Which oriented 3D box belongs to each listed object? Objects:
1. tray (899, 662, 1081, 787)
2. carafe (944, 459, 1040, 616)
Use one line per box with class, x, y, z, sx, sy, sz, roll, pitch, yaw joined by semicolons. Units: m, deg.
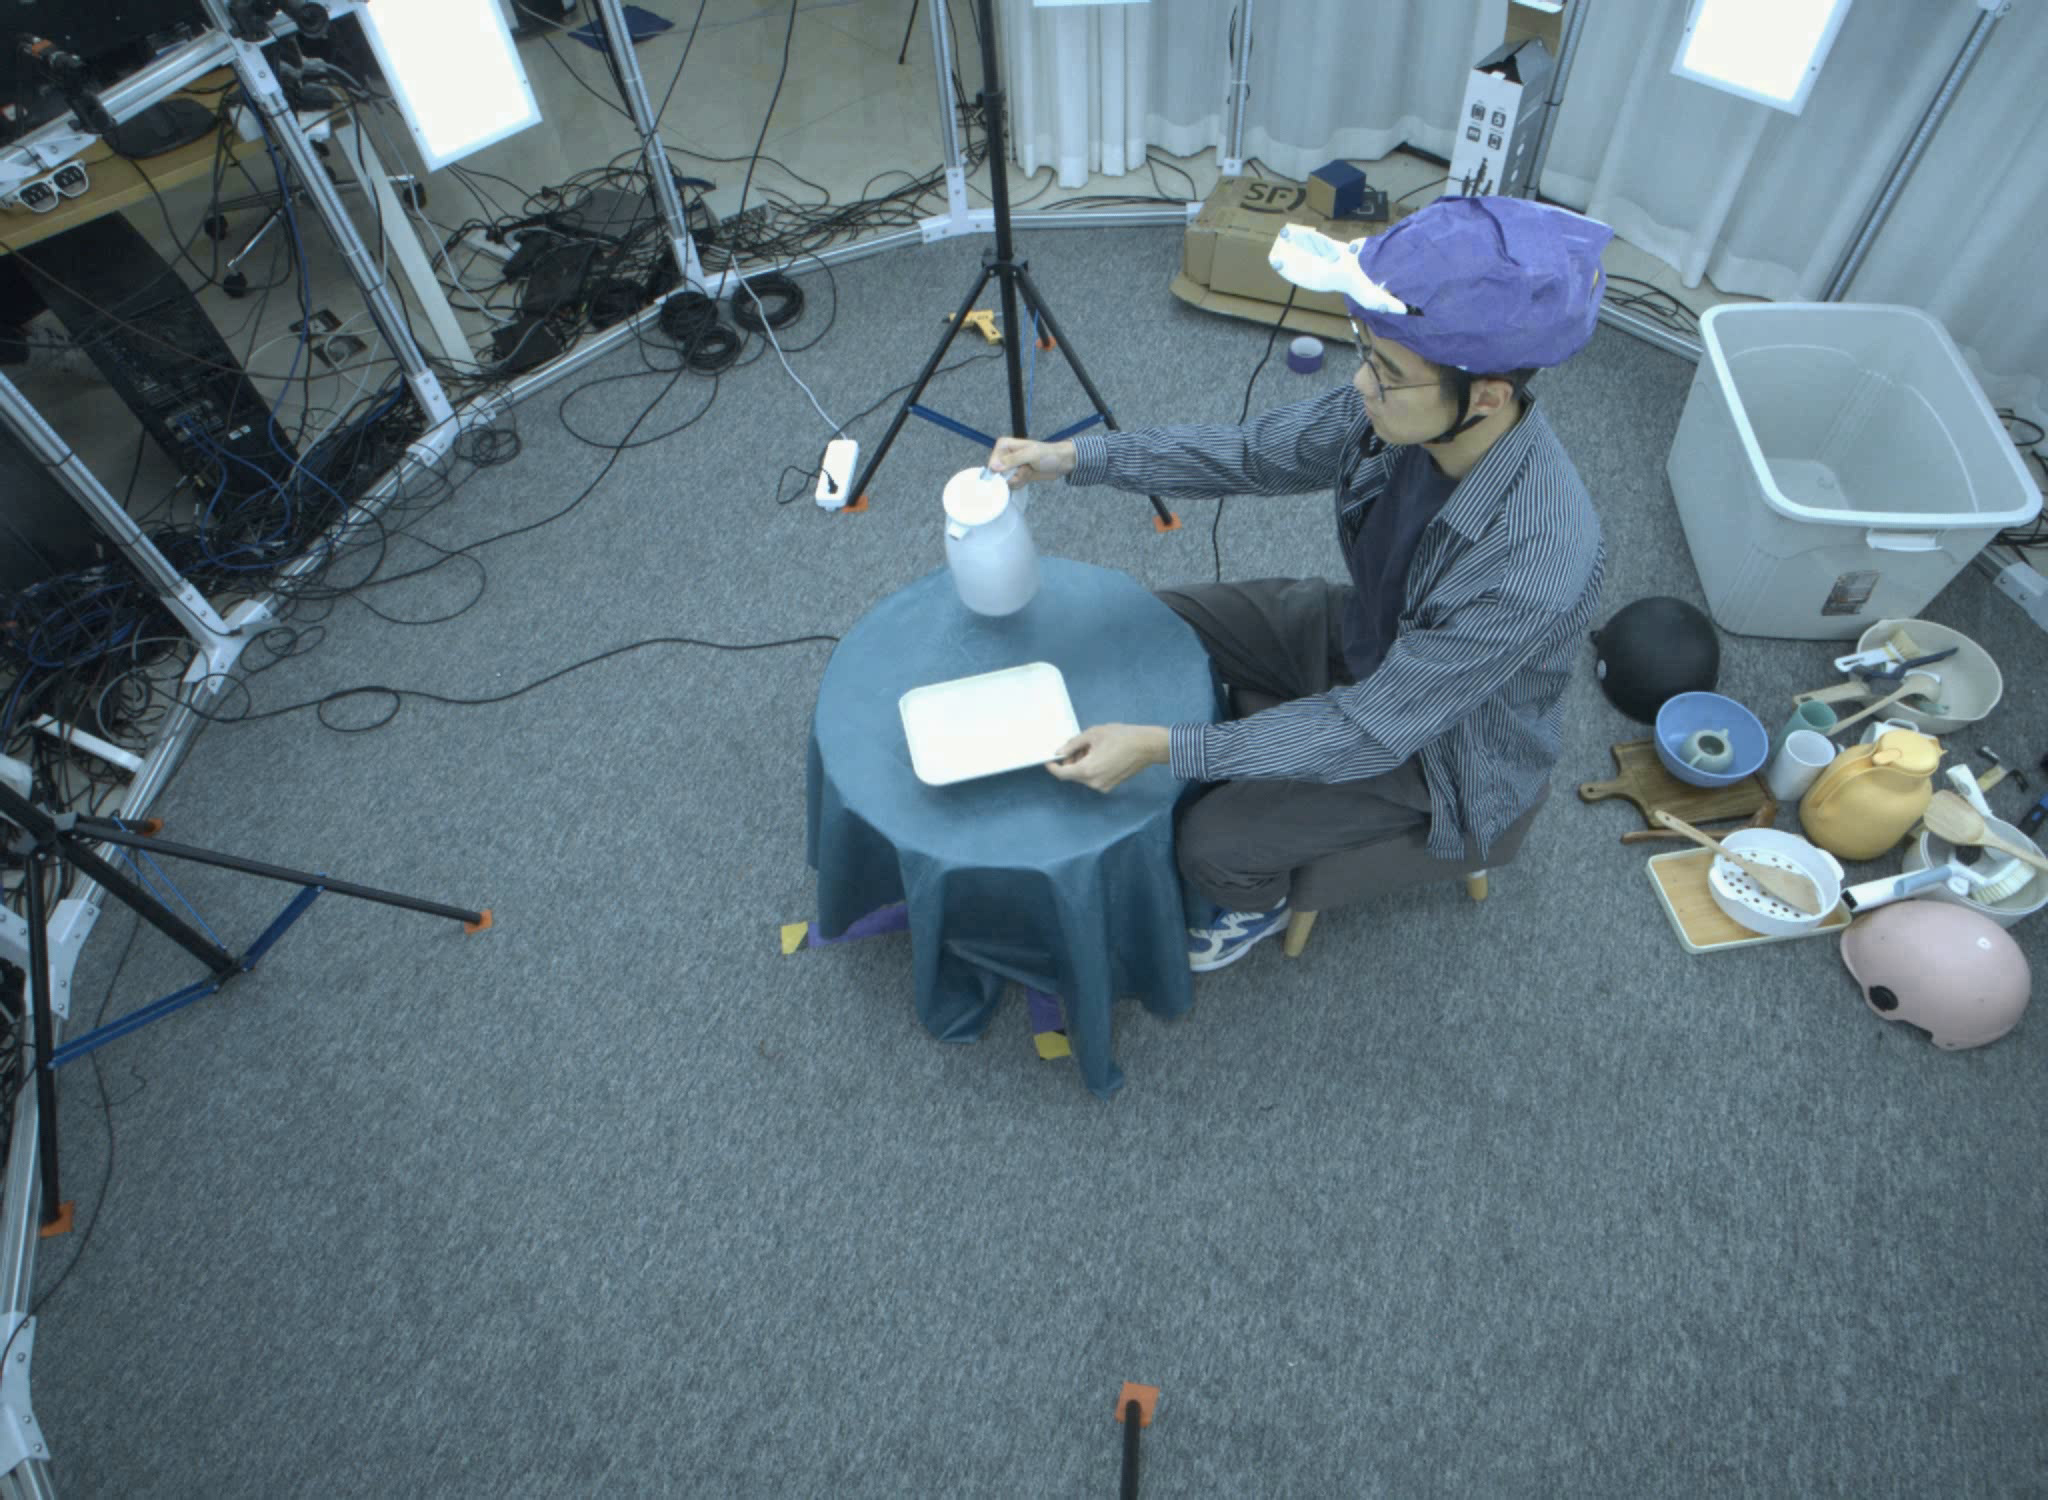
tray;-0.049;-0.036;1.749;0.241;0.017;0.169;-12;59;-9
carafe;-0.047;-0.325;1.783;0.131;0.251;0.167;23;73;14
